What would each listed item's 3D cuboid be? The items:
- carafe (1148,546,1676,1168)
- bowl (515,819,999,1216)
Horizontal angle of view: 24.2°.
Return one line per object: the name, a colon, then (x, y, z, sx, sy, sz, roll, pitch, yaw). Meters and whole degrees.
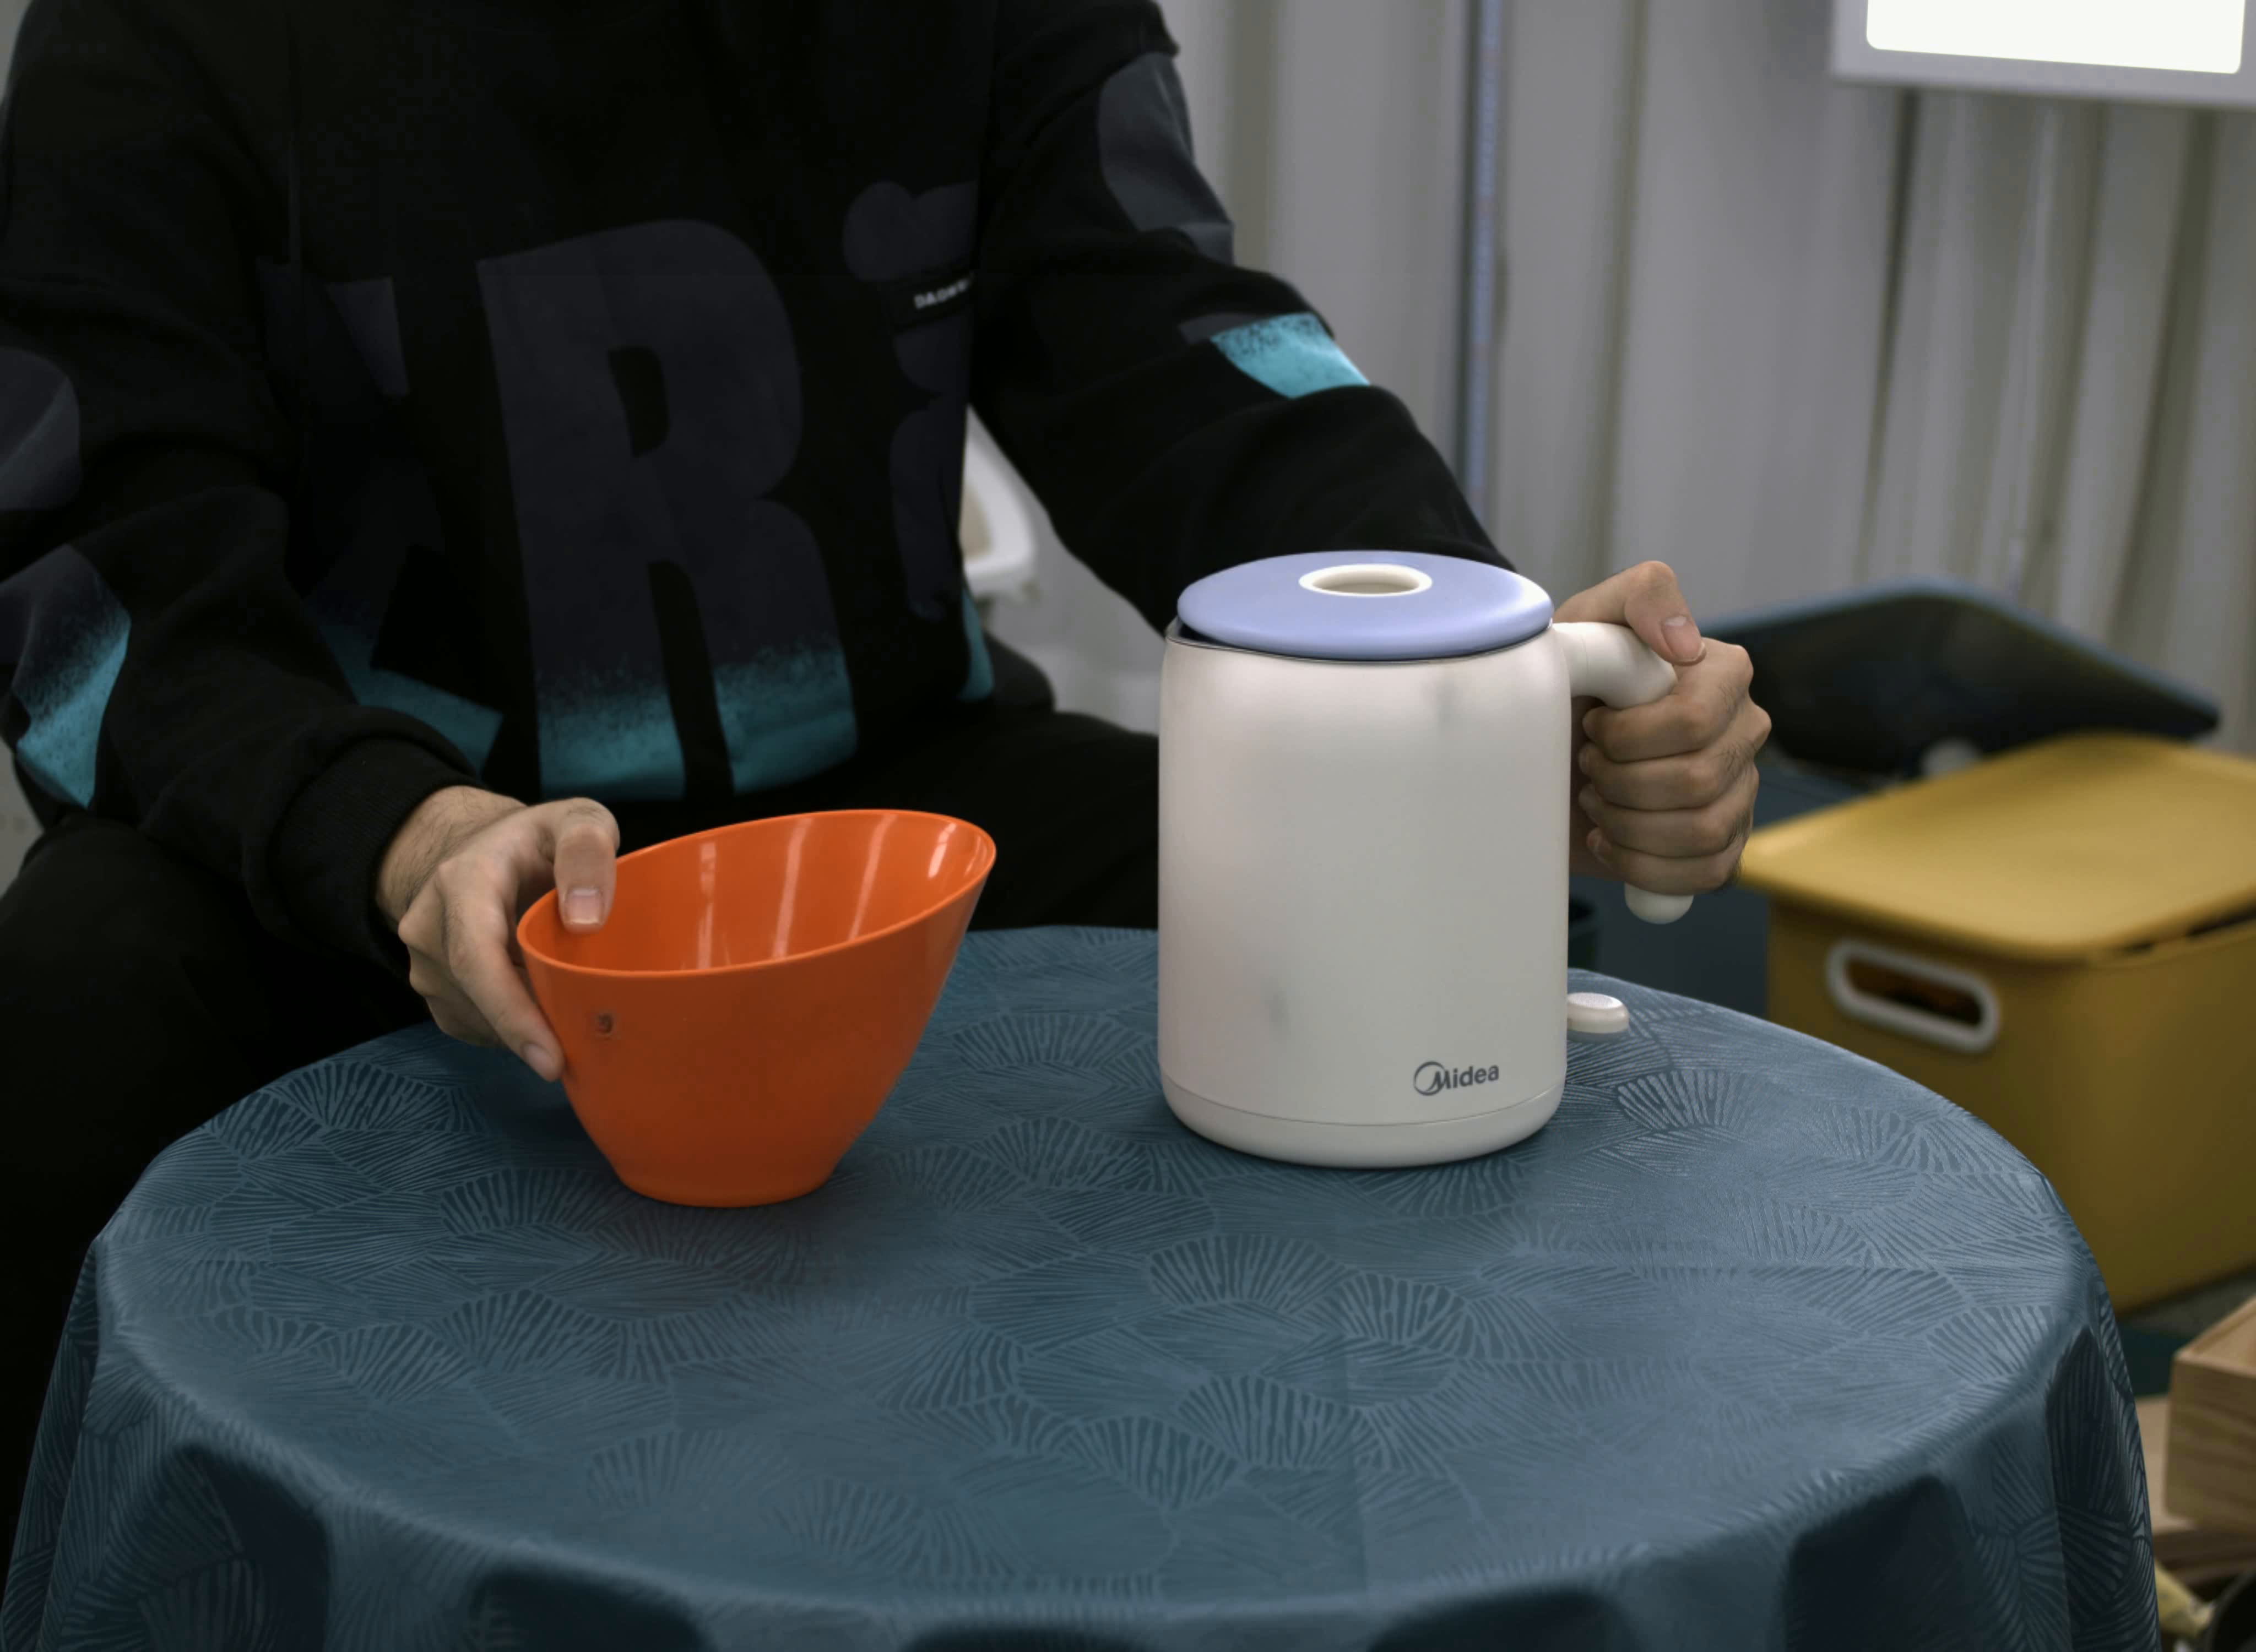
carafe: (0.095, 0.007, 1.683, 0.192, 0.184, 0.130, -5, 18, -27)
bowl: (-0.114, 0.060, 1.616, 0.147, 0.105, 0.147, 2, 16, 0)
